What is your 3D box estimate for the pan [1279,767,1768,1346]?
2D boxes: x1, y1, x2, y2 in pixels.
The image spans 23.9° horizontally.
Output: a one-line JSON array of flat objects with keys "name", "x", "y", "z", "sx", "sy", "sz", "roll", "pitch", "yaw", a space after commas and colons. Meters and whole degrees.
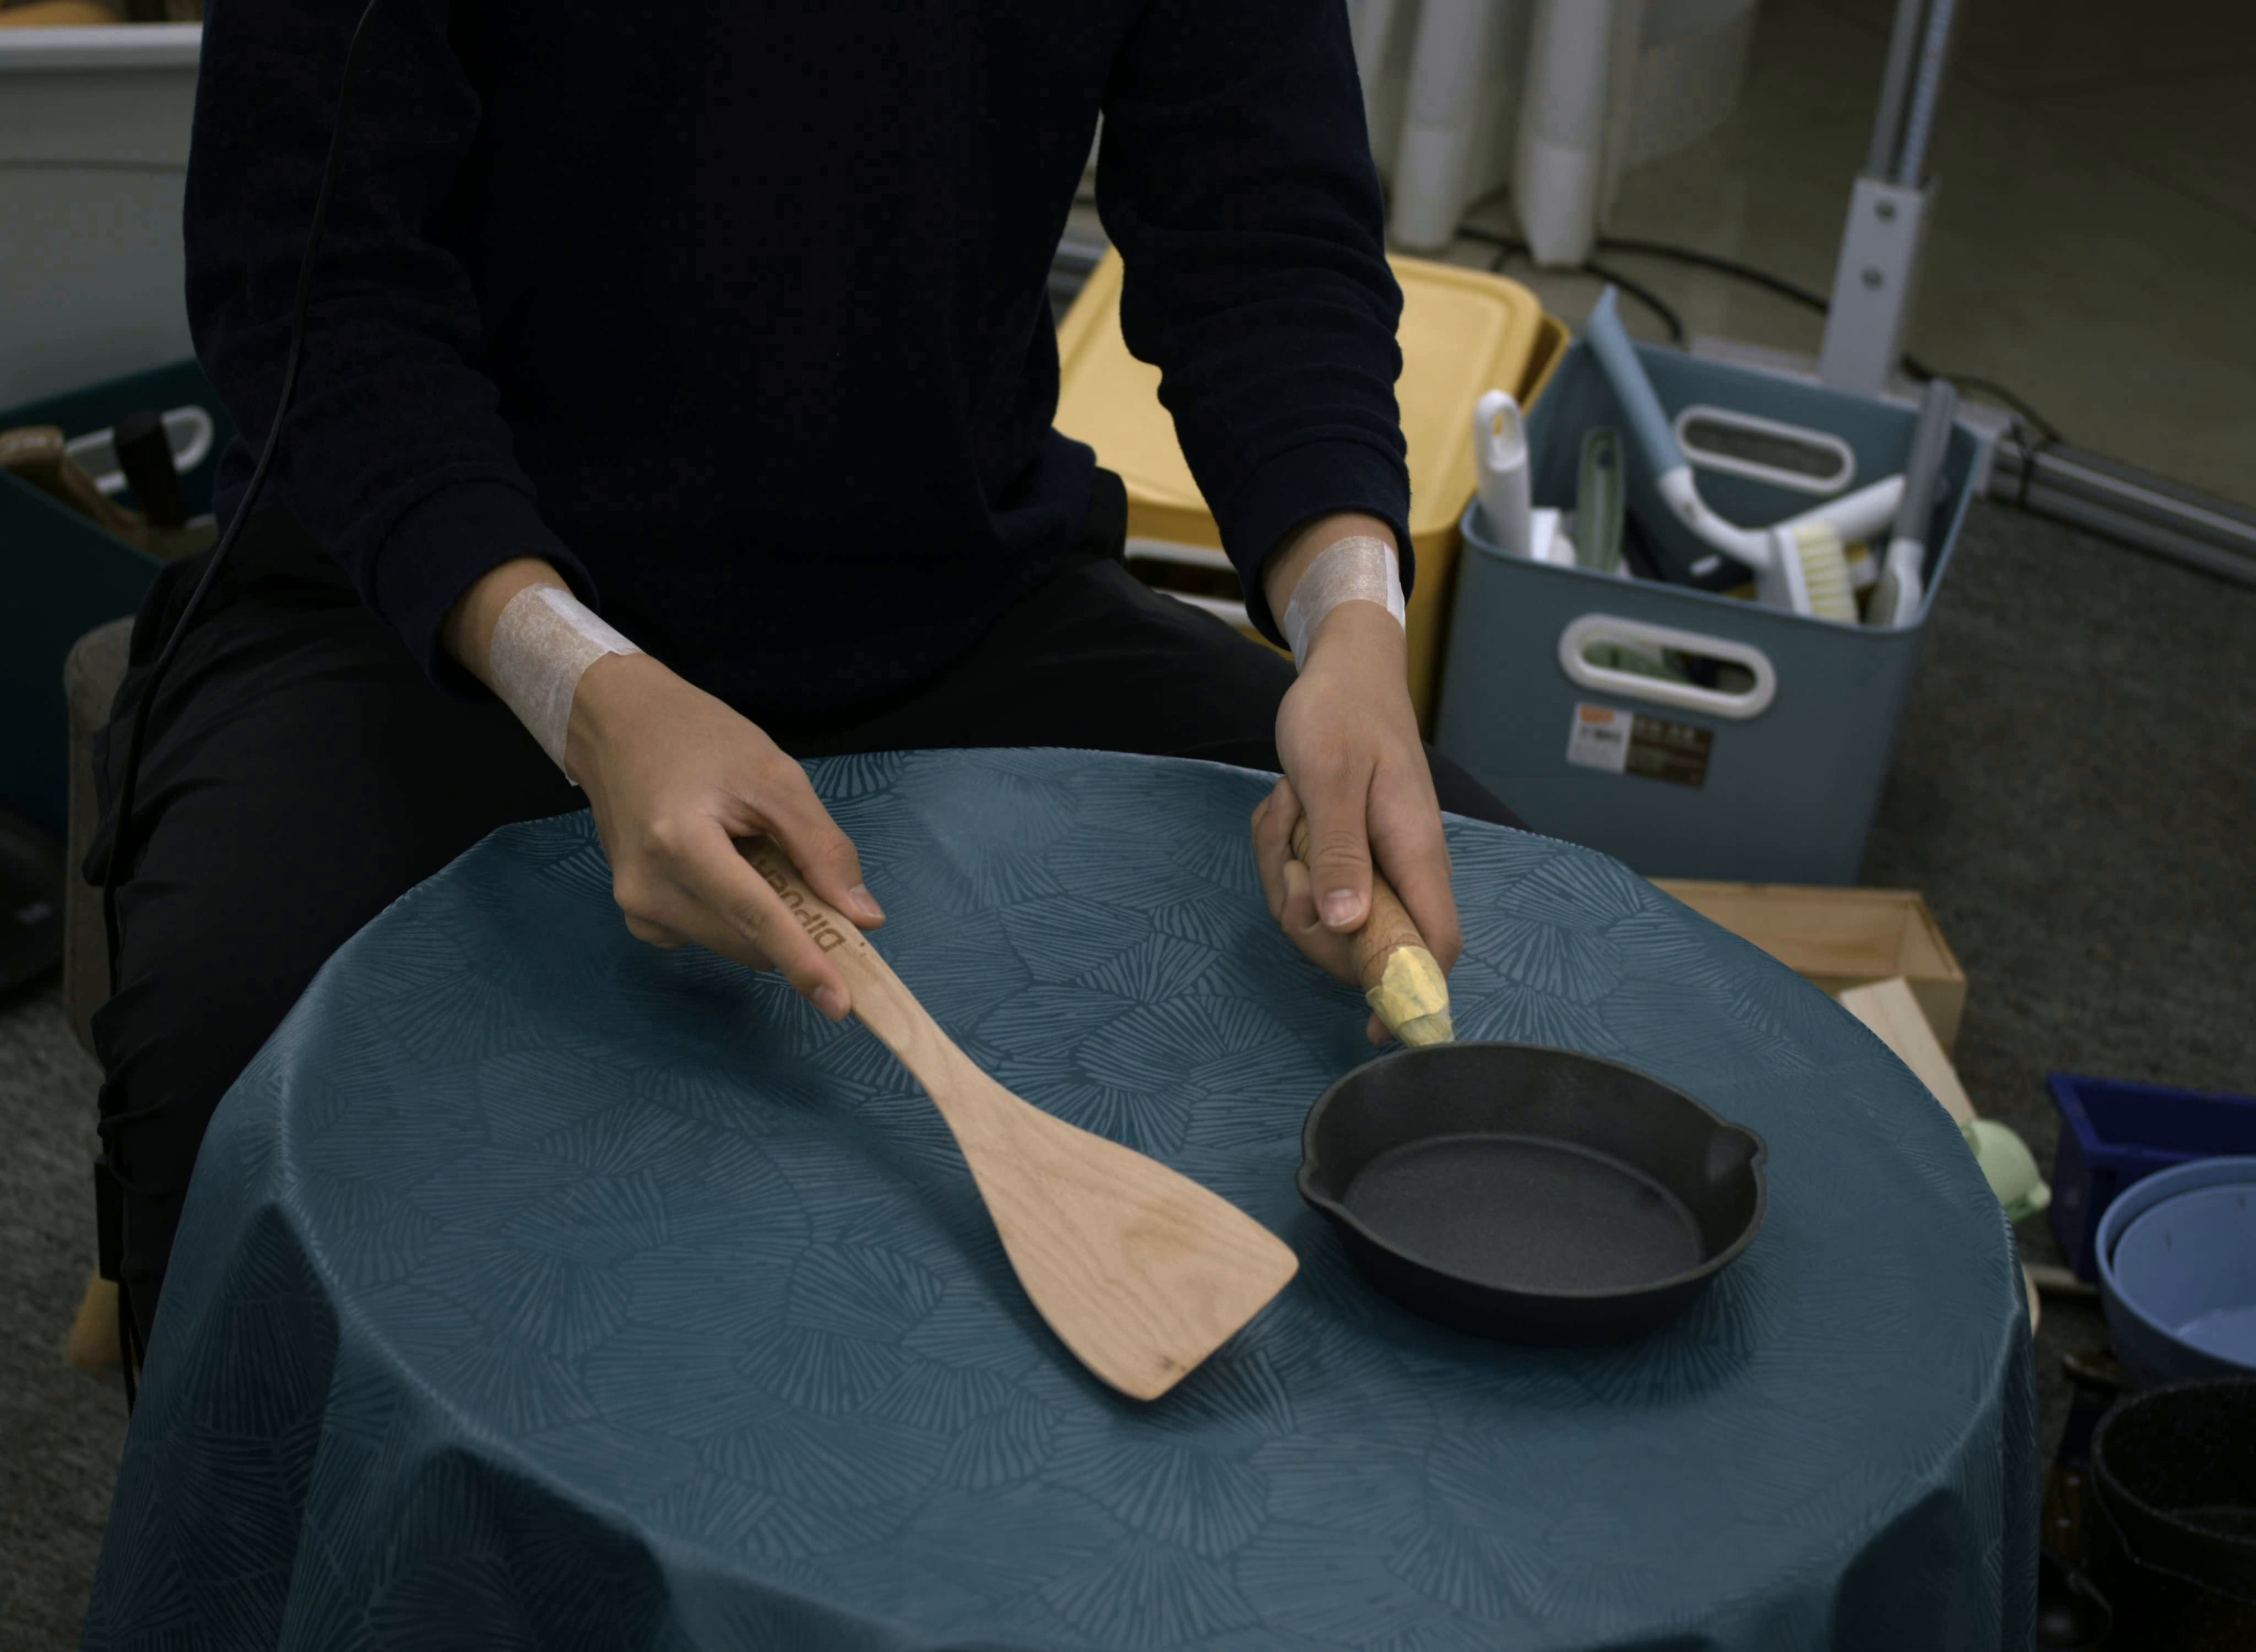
[{"name": "pan", "x": 0.112, "y": 0.078, "z": 1.854, "sx": 0.168, "sy": 0.049, "sz": 0.327, "roll": -4, "pitch": 31, "yaw": -16}]

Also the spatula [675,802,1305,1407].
[{"name": "spatula", "x": -0.059, "y": 0.082, "z": 1.787, "sx": 0.080, "sy": 0.016, "sz": 0.330, "roll": -30, "pitch": 50, "yaw": -20}]
